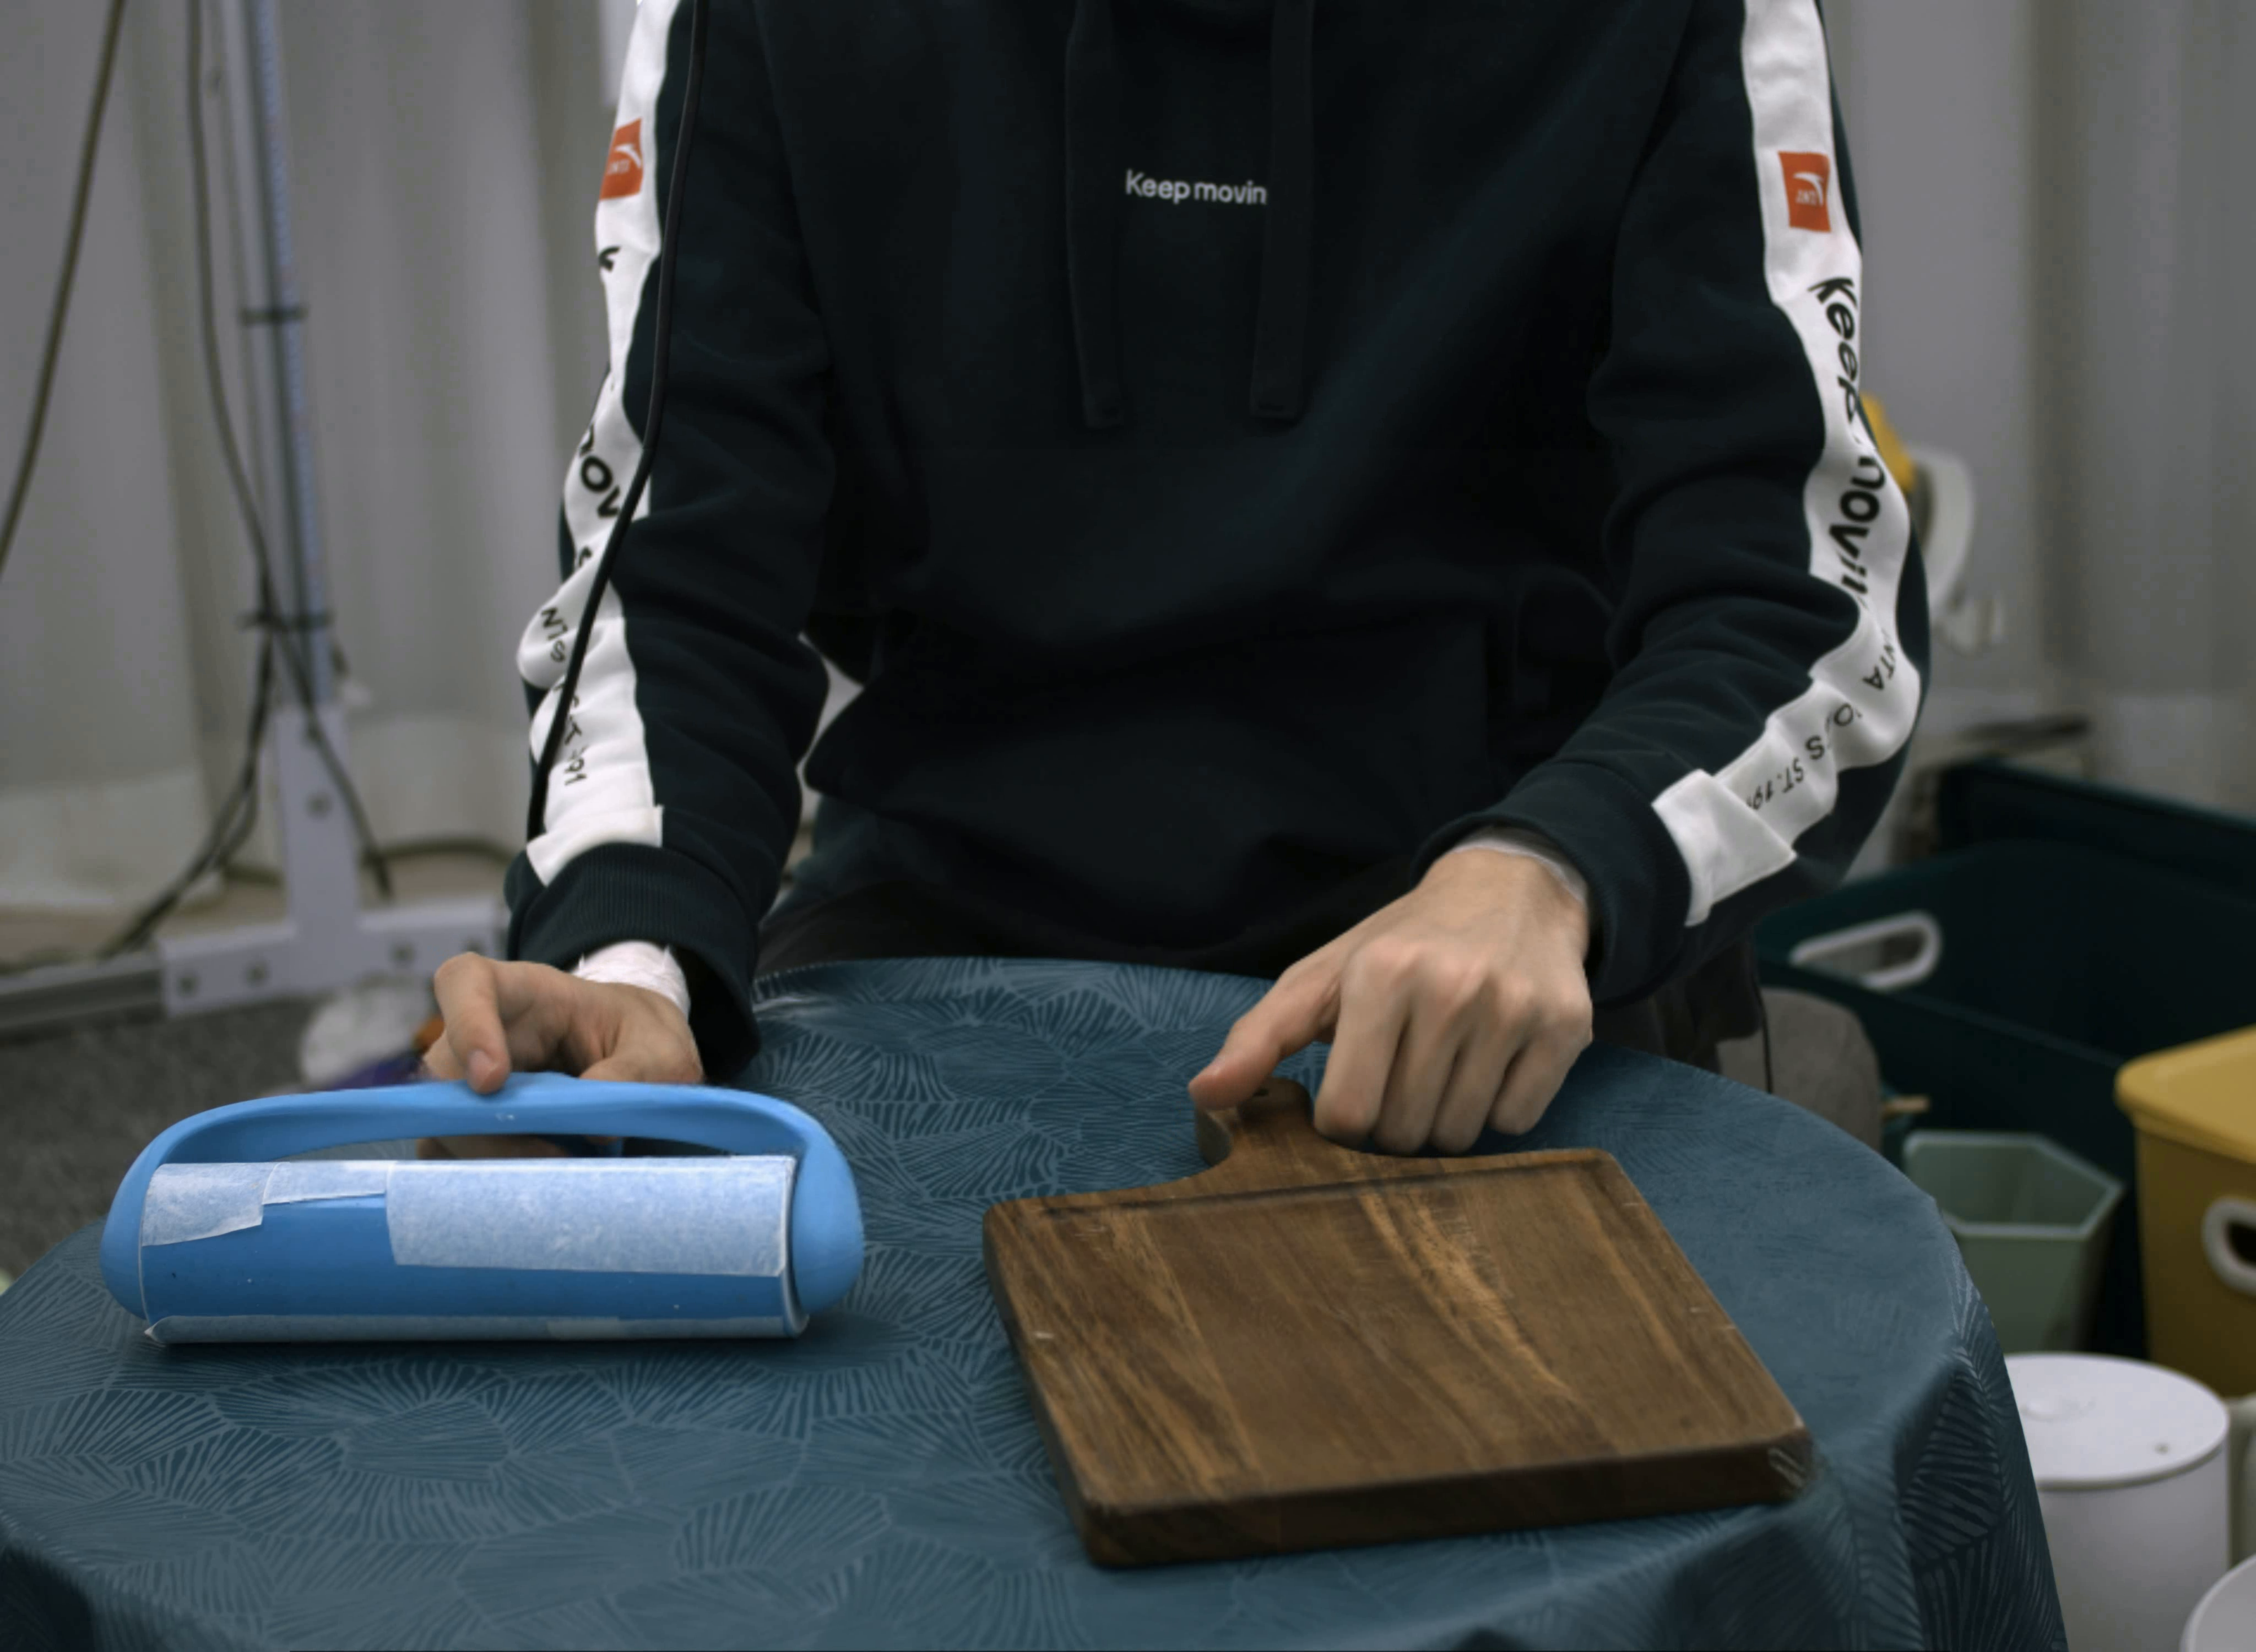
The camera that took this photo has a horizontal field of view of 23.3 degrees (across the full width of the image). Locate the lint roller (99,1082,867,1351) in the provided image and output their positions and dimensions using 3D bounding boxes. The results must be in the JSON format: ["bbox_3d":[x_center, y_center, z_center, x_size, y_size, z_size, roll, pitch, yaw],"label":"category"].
[{"bbox_3d":[-0.187,0.109,1.666,0.228,0.067,0.181,-3,16,4],"label":"lint roller"}]

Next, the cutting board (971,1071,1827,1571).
[{"bbox_3d":[0.062,0.133,1.591,0.200,0.023,0.355,-5,15,-8],"label":"cutting board"}]
